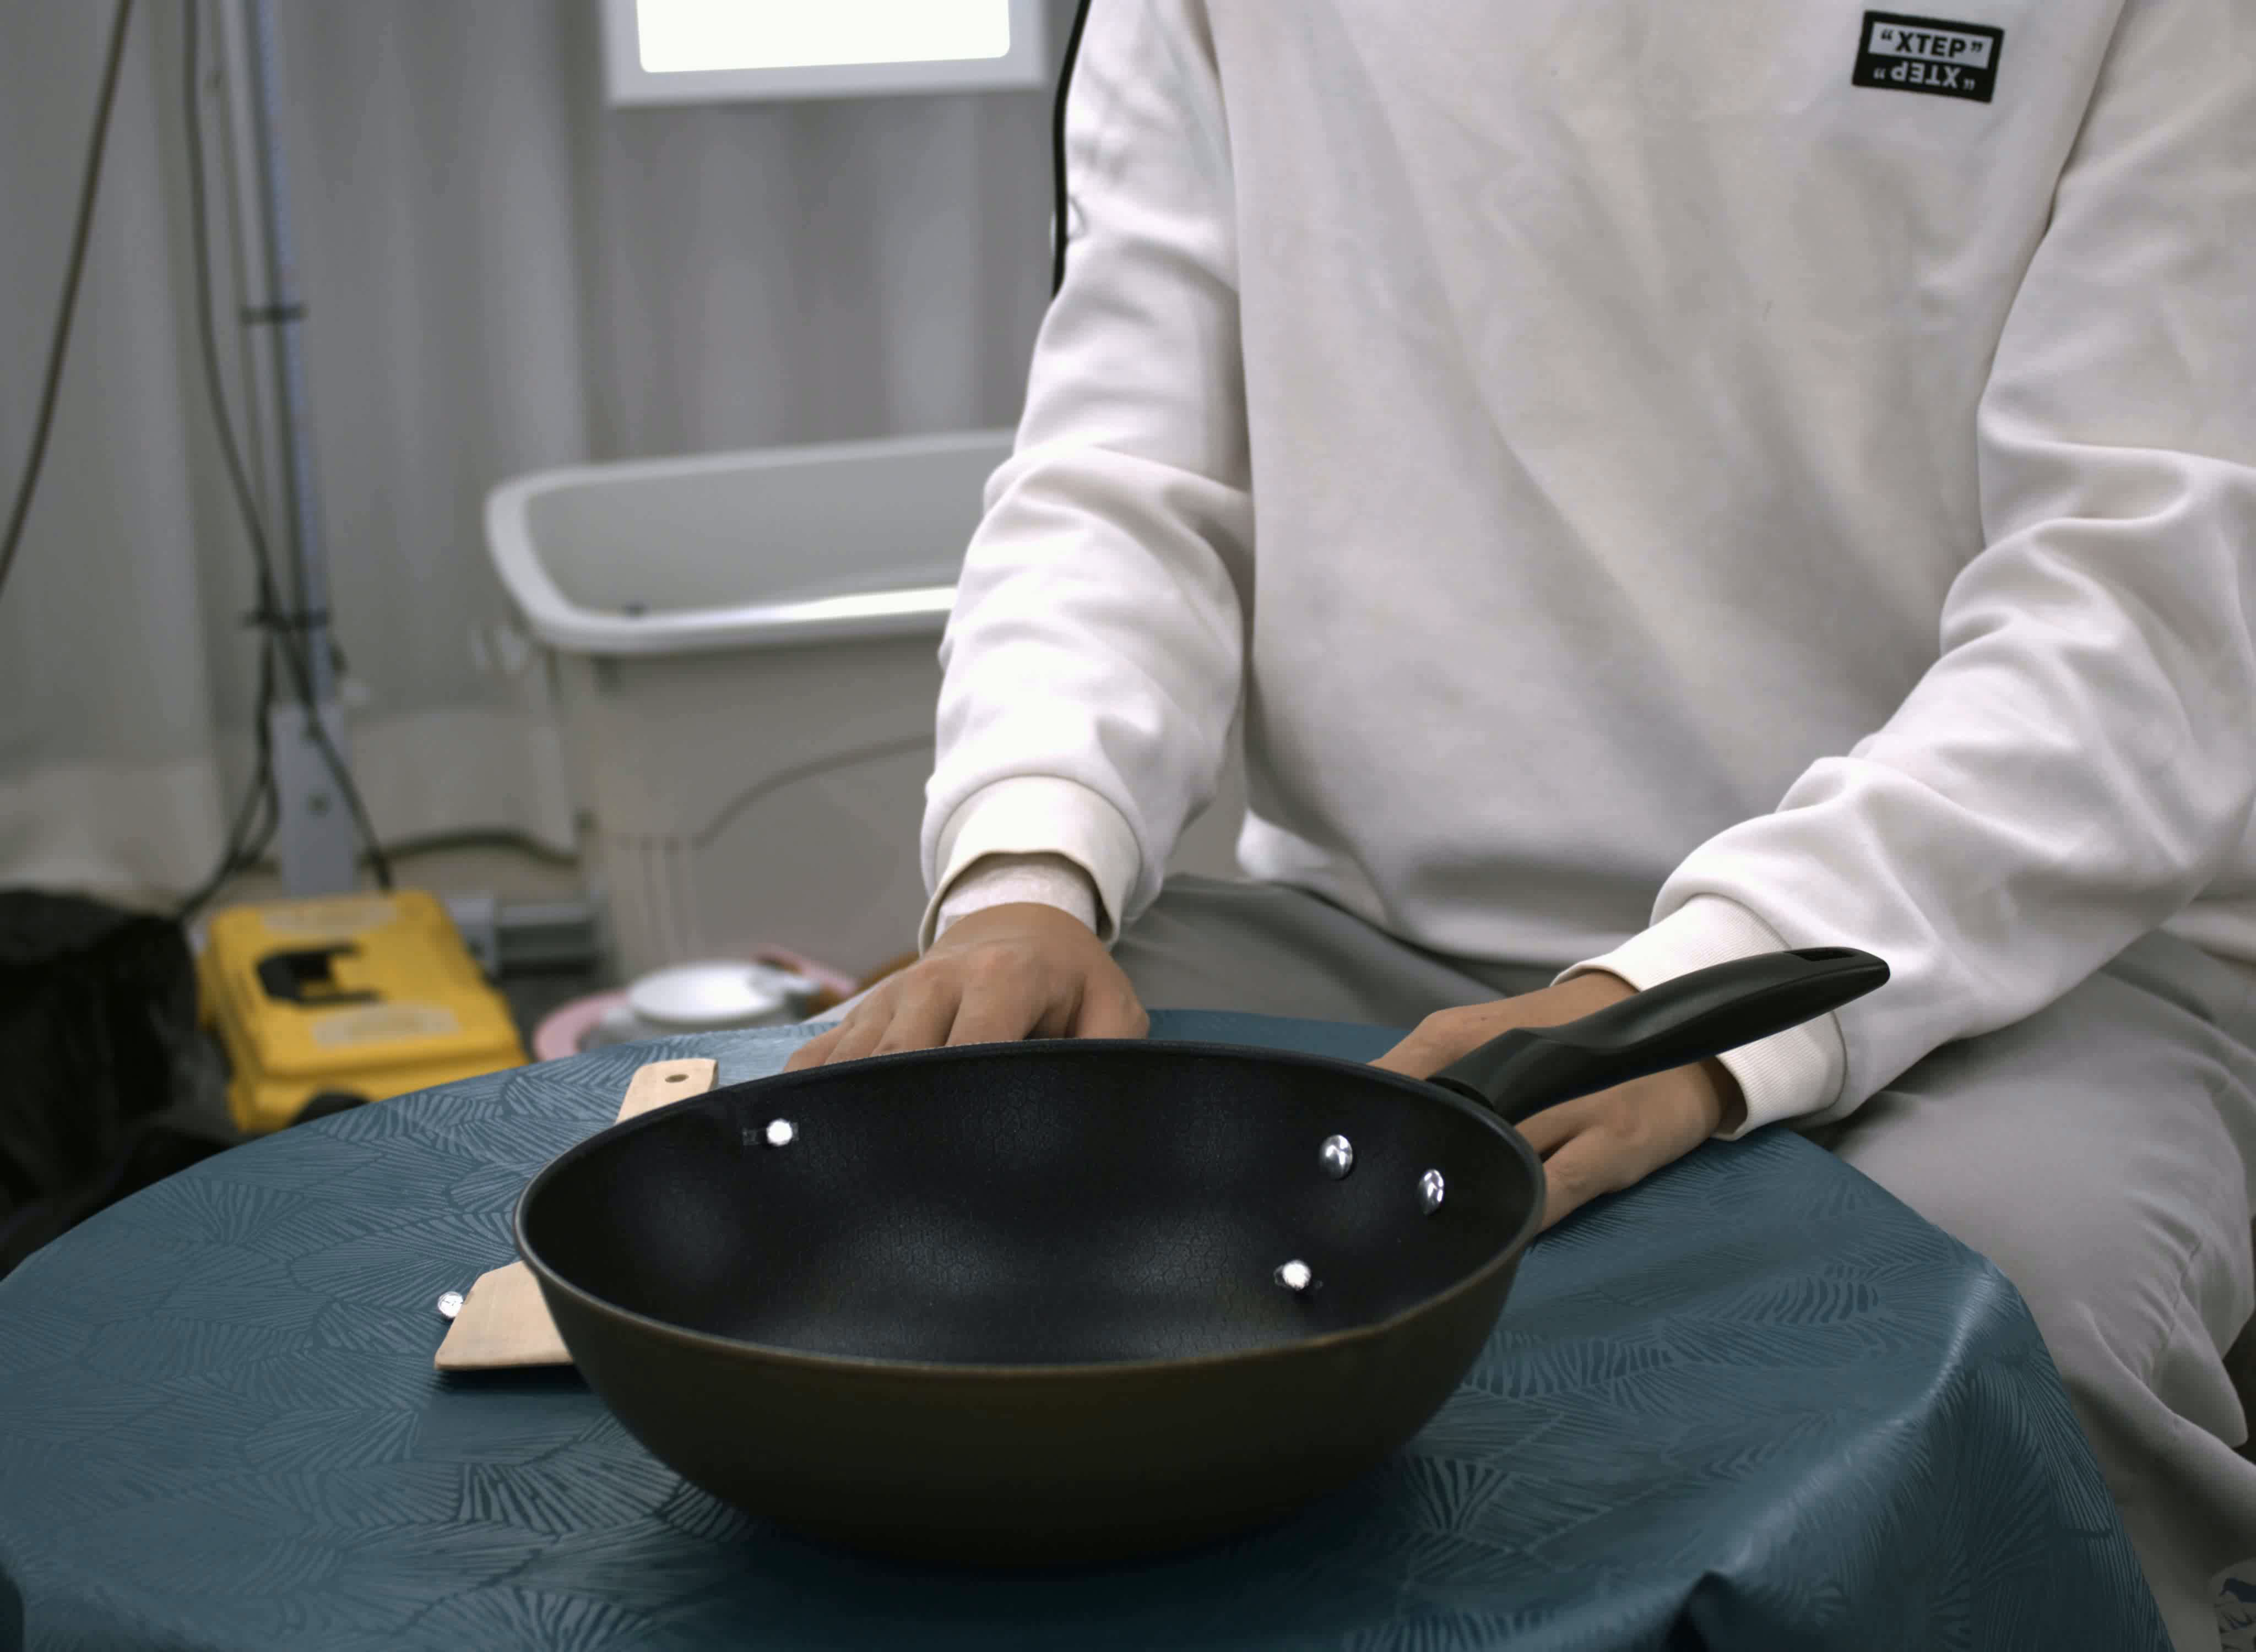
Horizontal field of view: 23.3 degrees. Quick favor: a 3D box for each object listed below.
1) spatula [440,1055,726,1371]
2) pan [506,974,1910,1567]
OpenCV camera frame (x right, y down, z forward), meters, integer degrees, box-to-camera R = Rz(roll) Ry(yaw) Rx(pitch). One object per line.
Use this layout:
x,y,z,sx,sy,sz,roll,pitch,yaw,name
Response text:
-0.158,0.119,1.713,0.072,0.010,0.295,-3,15,4,spatula
0.045,0.119,1.536,0.462,0.086,0.290,-12,17,-37,pan
